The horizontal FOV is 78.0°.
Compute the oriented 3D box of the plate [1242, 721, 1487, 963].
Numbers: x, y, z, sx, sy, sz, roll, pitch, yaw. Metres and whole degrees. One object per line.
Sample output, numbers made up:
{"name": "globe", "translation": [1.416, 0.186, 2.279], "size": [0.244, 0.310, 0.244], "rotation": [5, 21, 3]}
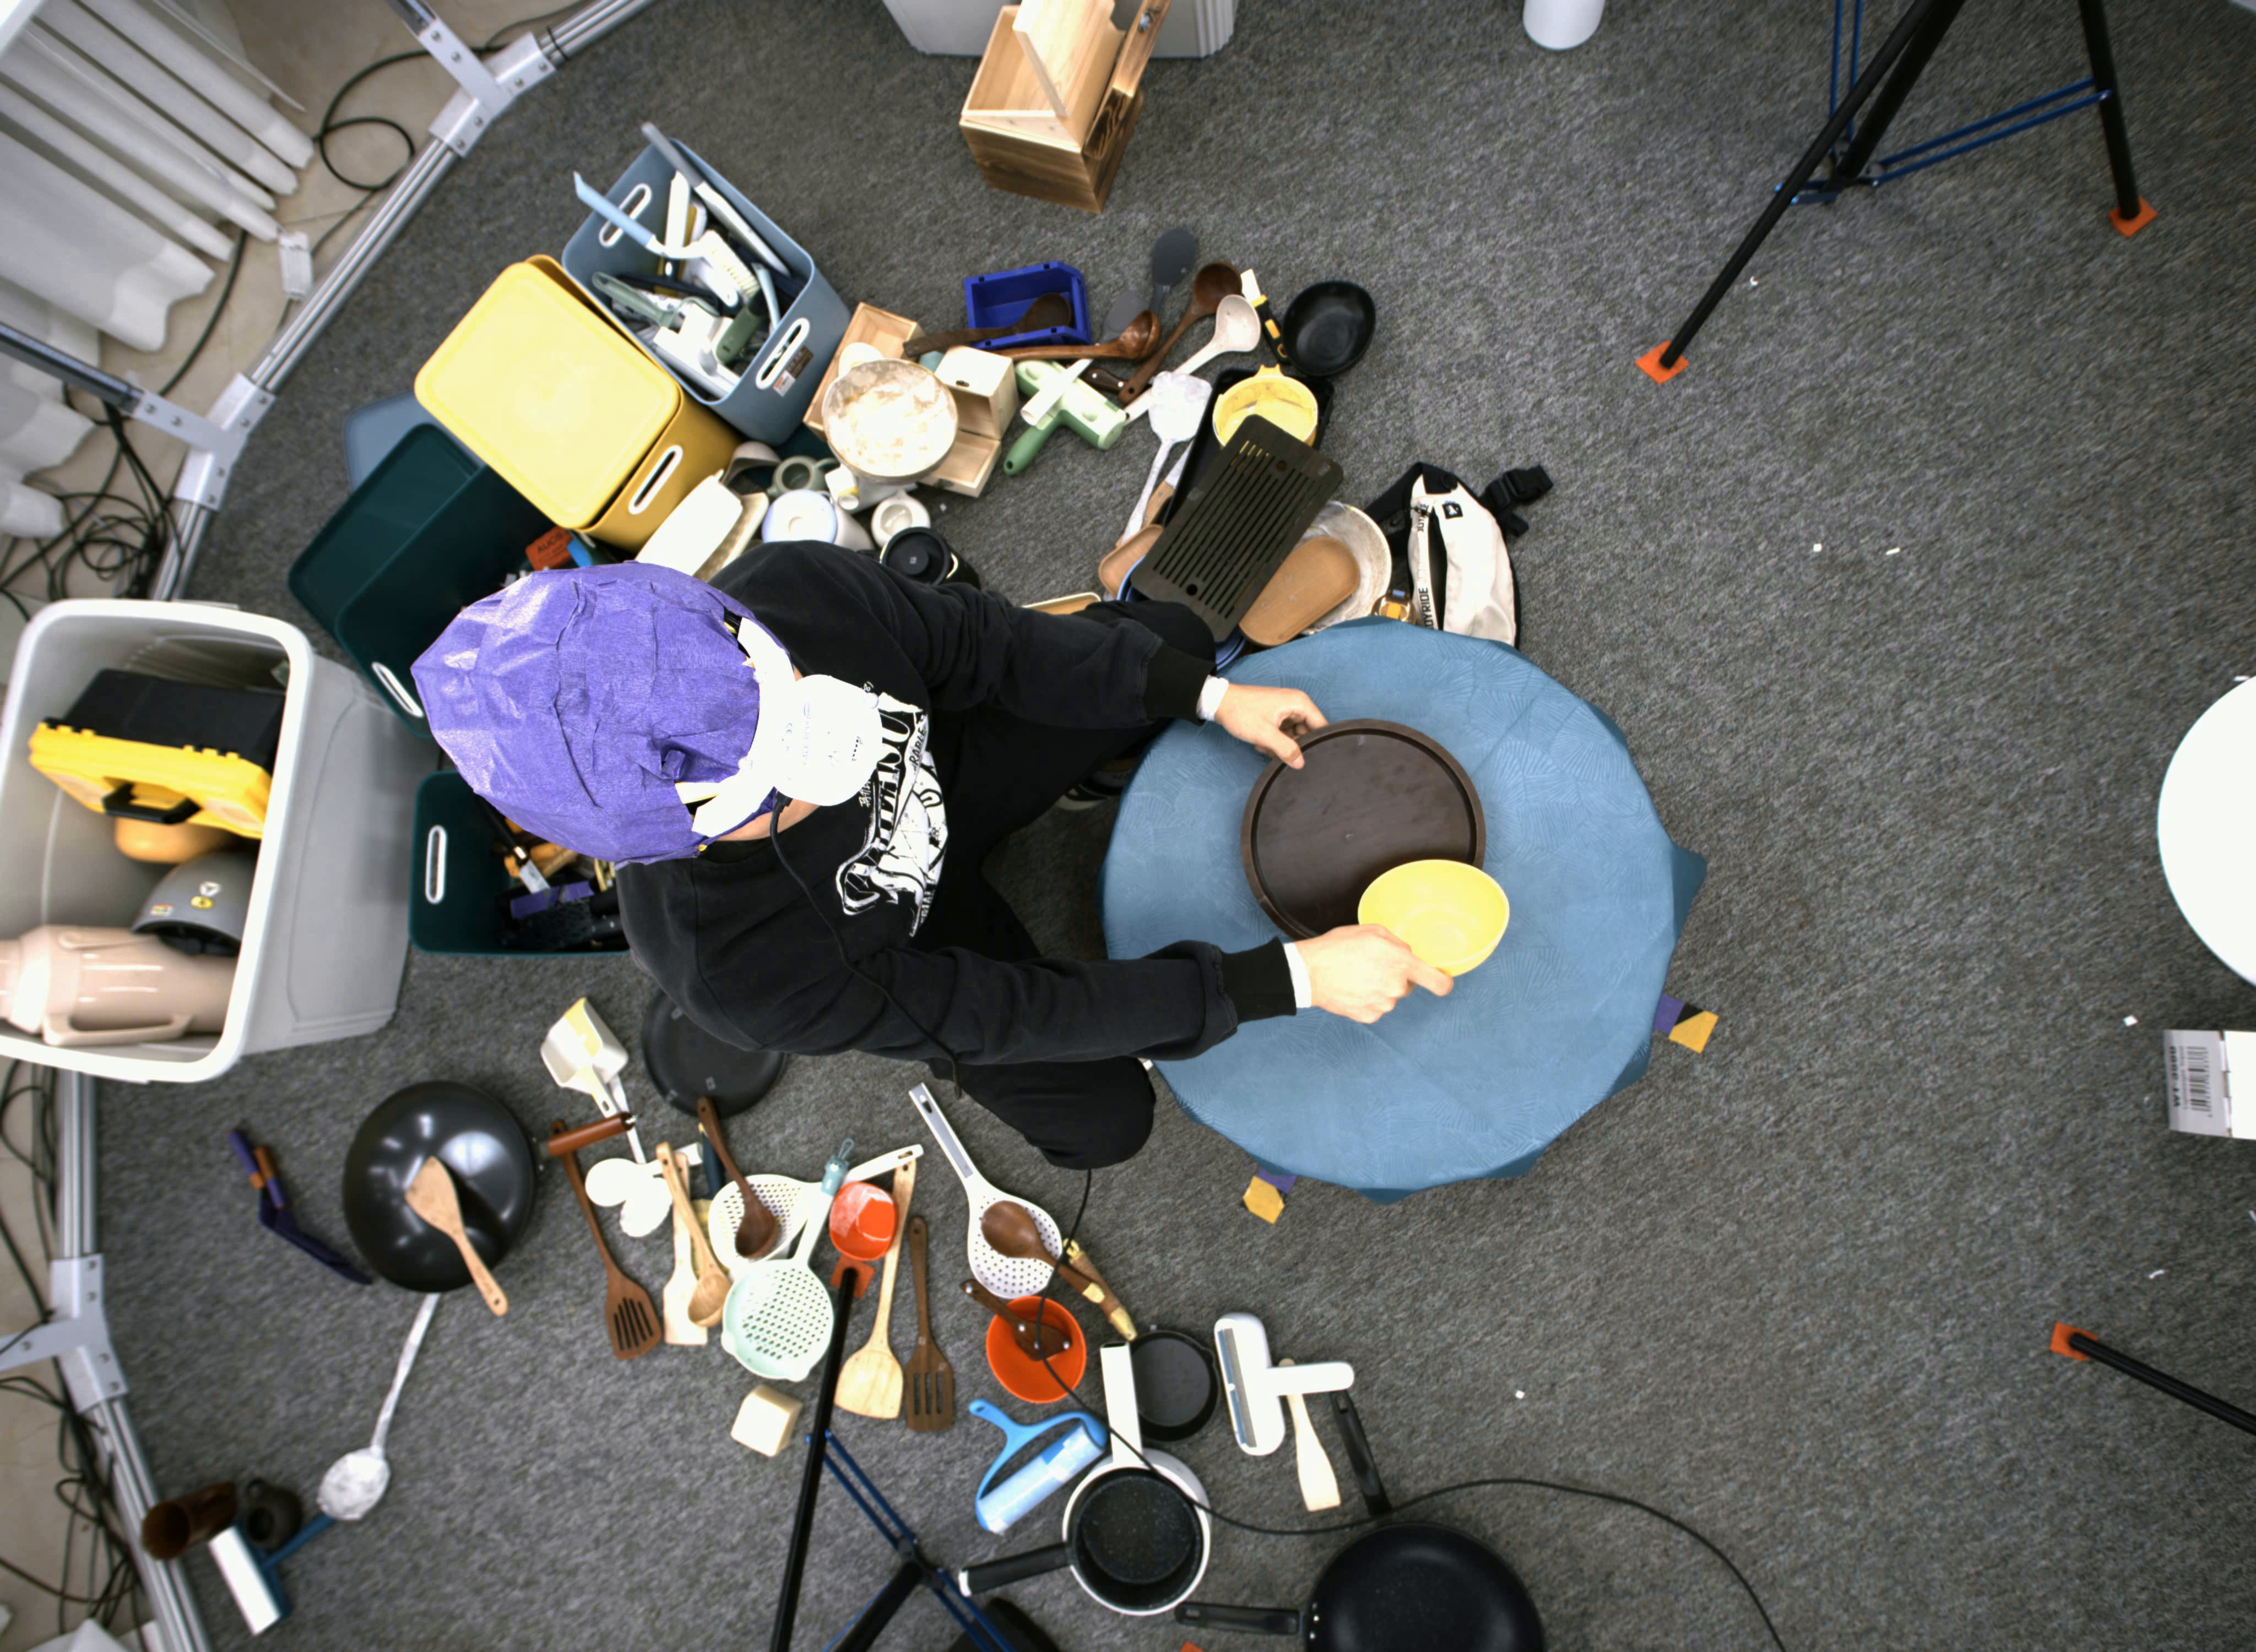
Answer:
{"name": "plate", "translation": [0.245, 0.016, 1.434], "size": [0.255, 0.028, 0.257], "rotation": [1, 102, 5]}

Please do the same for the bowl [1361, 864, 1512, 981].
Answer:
{"name": "bowl", "translation": [0.304, 0.104, 1.359], "size": [0.146, 0.061, 0.141], "rotation": [-8, 41, 6]}
